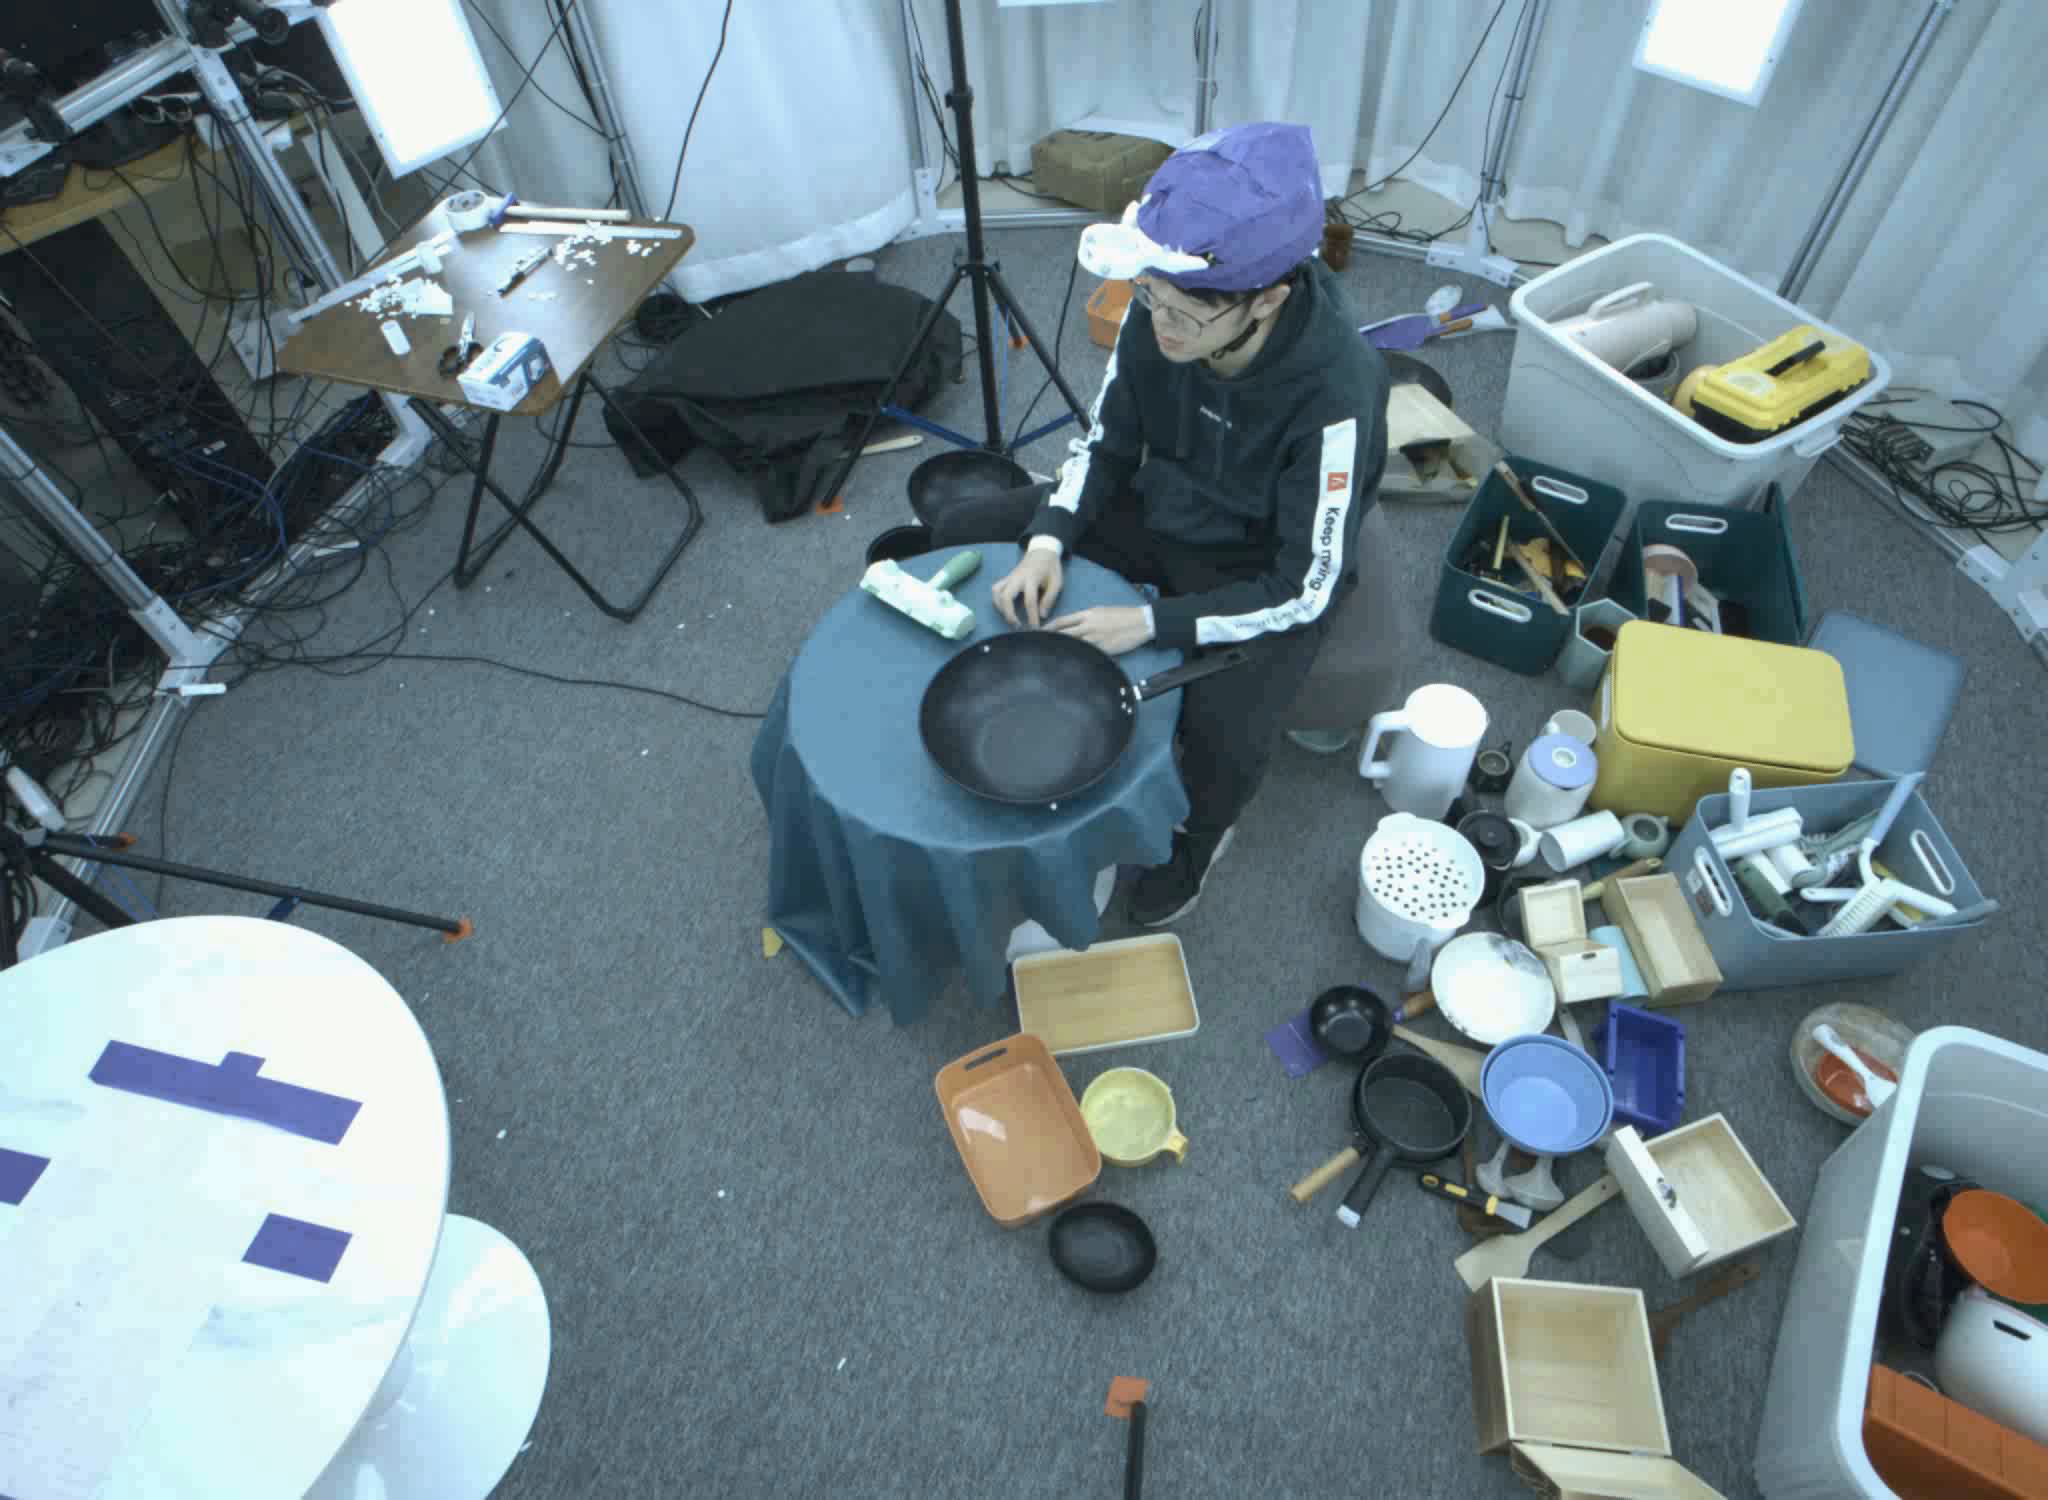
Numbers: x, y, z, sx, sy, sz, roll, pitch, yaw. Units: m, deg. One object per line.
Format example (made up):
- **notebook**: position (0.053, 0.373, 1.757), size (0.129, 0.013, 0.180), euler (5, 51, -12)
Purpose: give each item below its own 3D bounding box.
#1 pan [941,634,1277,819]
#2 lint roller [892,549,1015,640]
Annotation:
- **pan**: position (0.122, -0.043, 1.744), size (0.479, 0.113, 0.305), euler (-11, 56, -5)
- **lint roller**: position (-0.082, -0.277, 1.936), size (0.195, 0.083, 0.184), euler (33, 67, 24)
